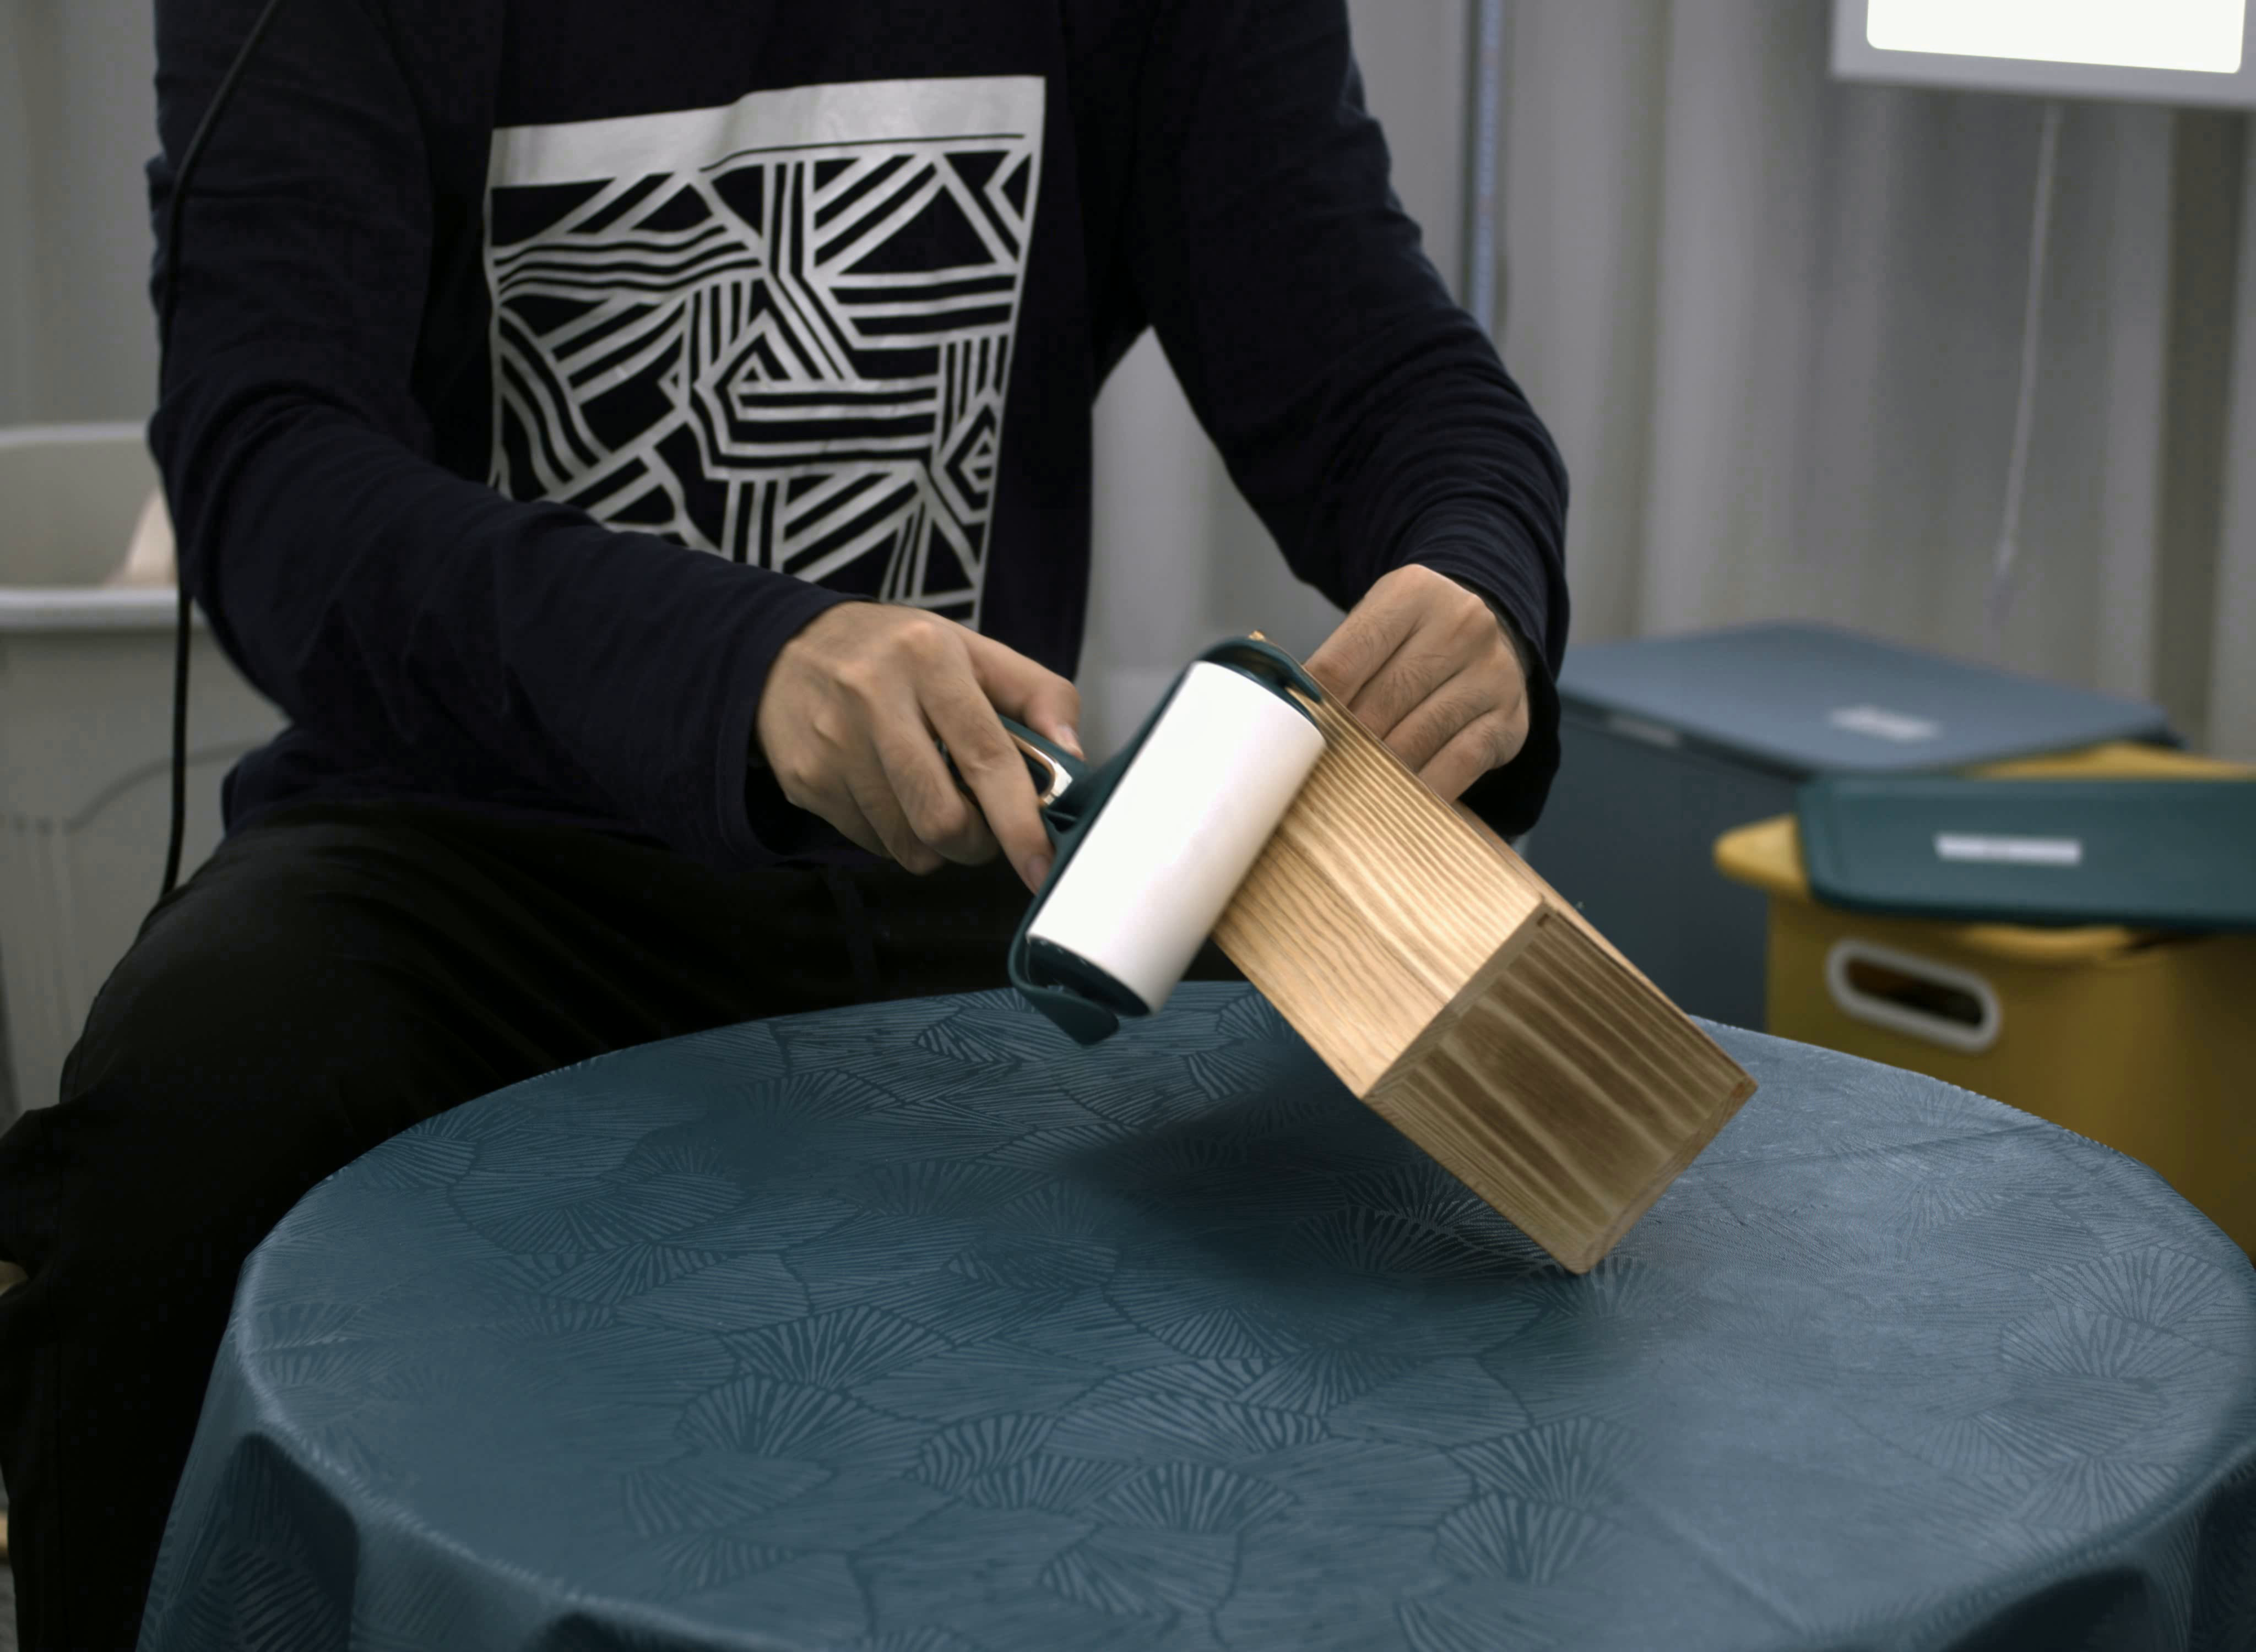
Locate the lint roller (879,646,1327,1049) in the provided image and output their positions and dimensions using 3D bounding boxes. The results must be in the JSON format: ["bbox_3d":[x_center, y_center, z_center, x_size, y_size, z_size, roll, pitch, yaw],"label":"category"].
[{"bbox_3d":[-0.029,-0.010,1.626,0.177,0.134,0.049,21,-16,44],"label":"lint roller"}]

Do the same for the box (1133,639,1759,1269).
[{"bbox_3d":[0.087,0.036,1.608,0.109,0.080,0.208,39,3,-33],"label":"box"}]
